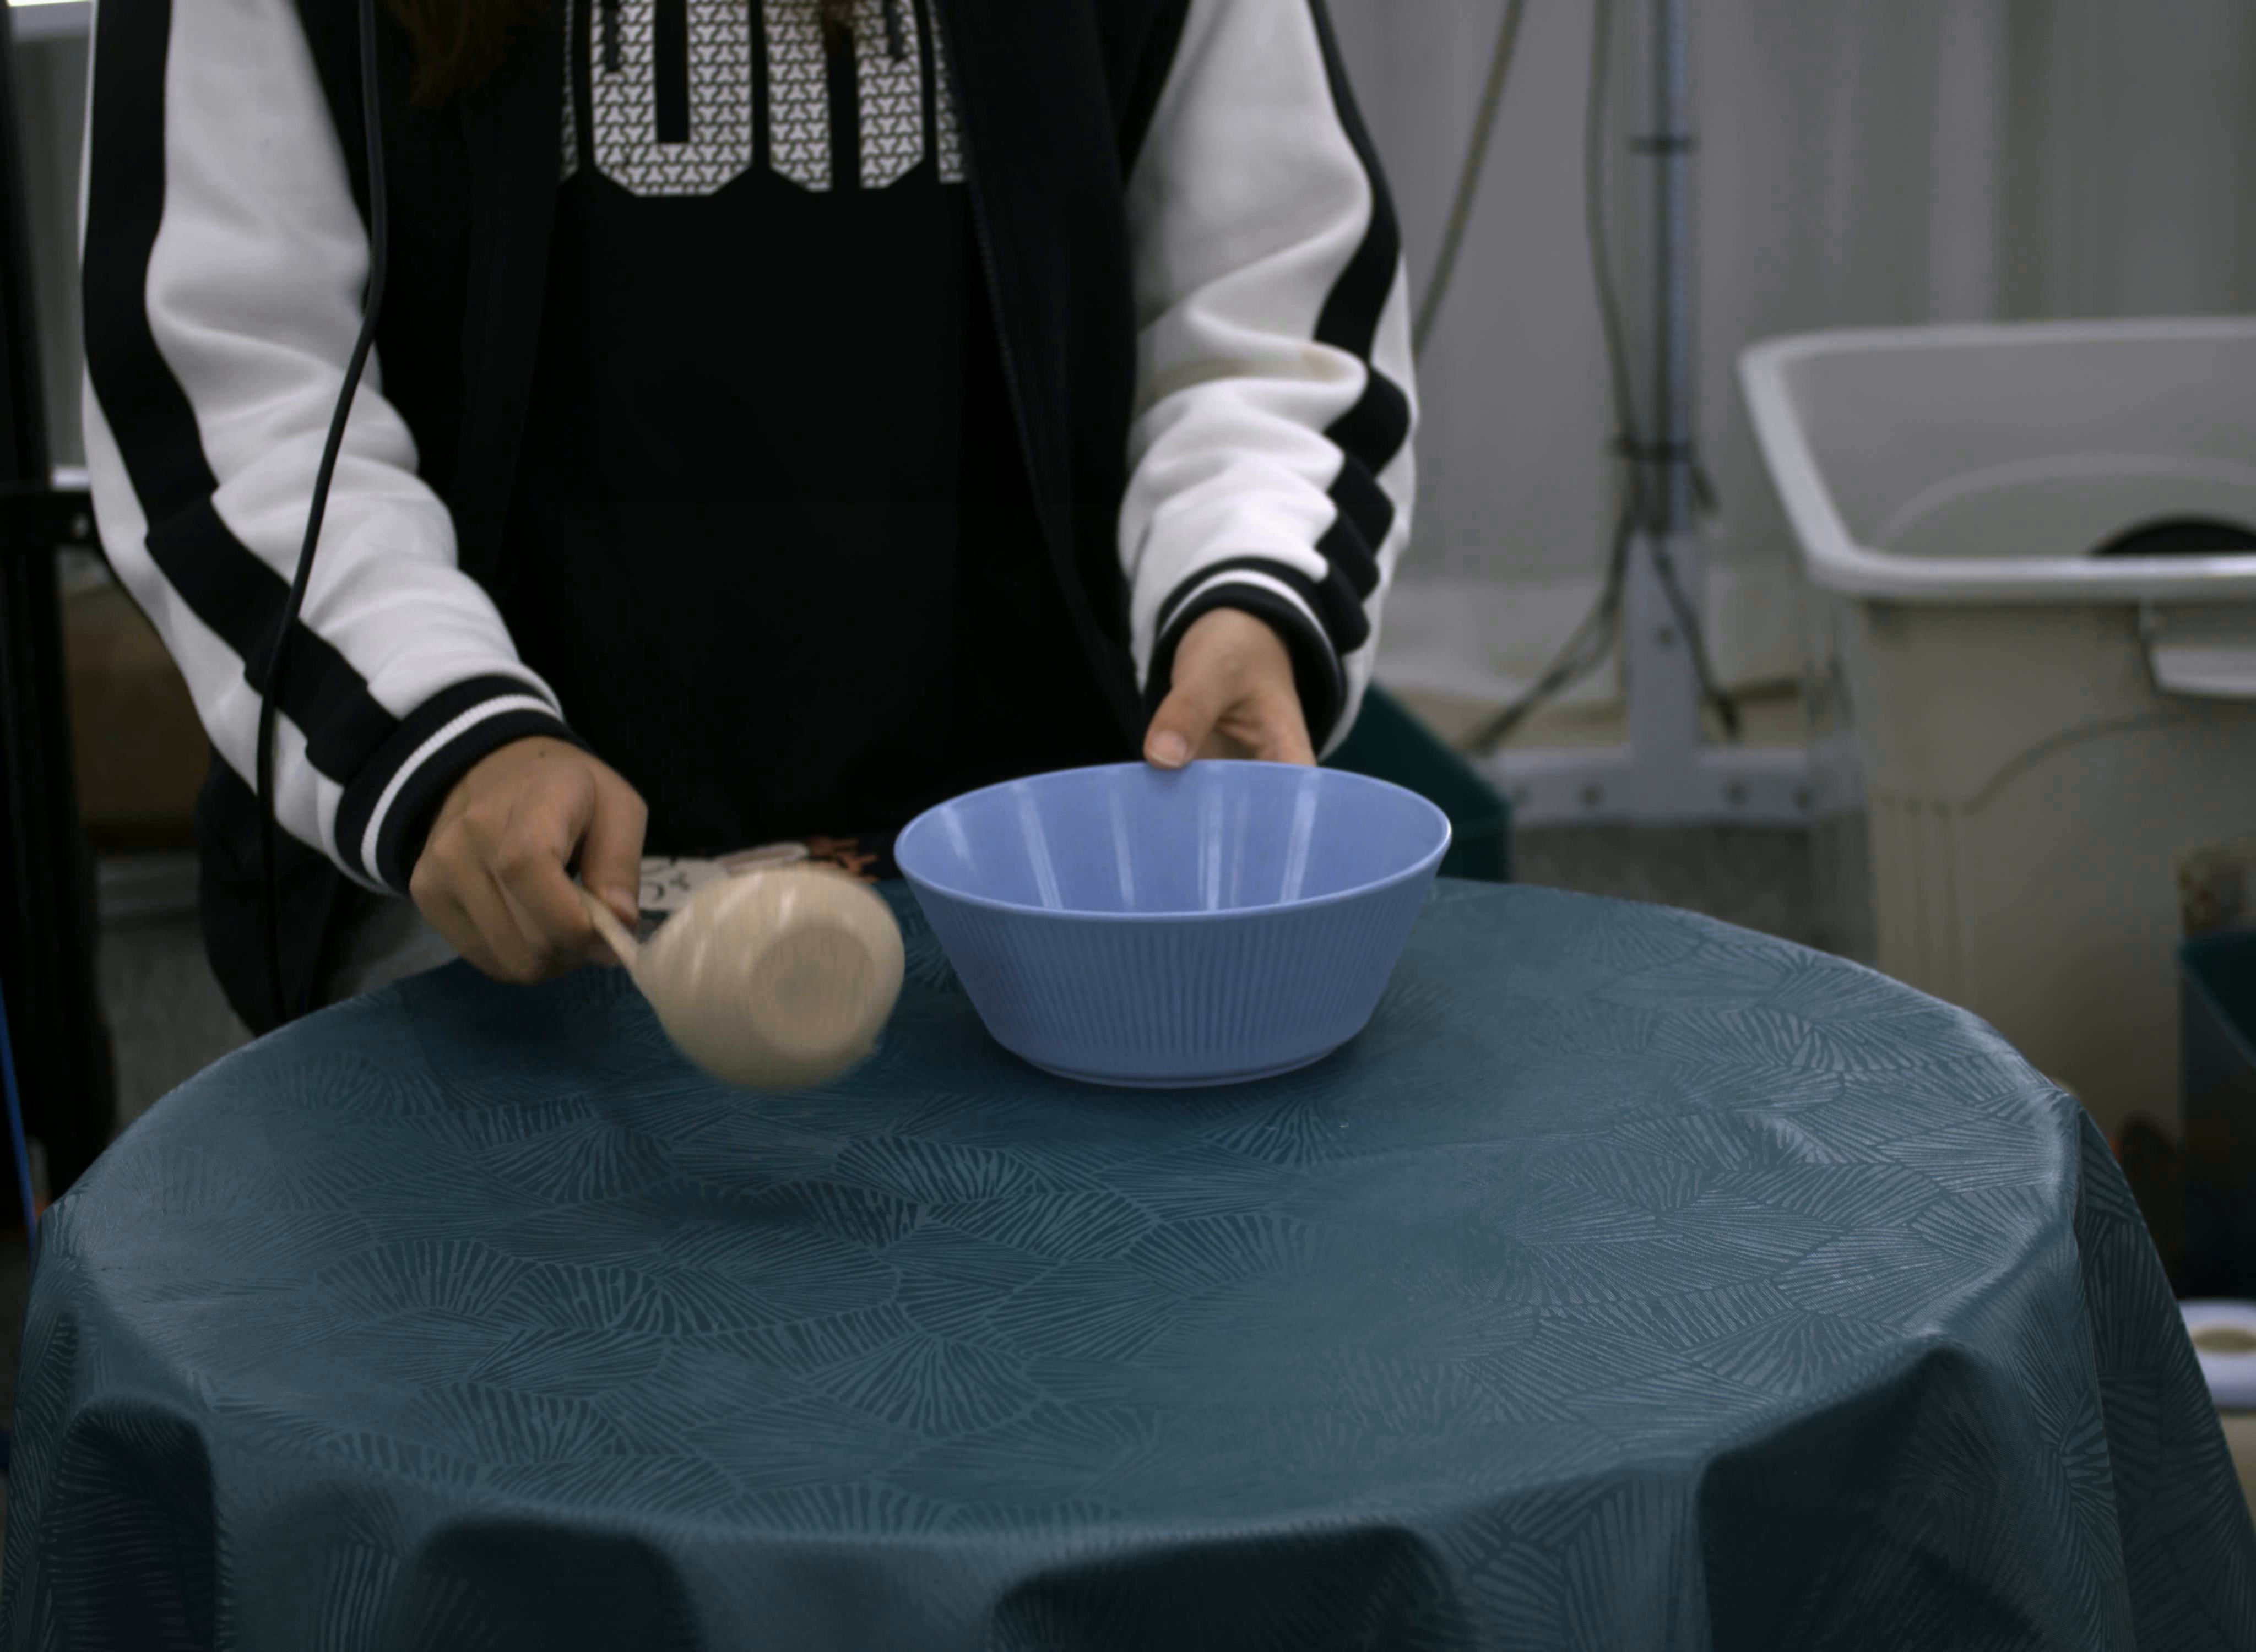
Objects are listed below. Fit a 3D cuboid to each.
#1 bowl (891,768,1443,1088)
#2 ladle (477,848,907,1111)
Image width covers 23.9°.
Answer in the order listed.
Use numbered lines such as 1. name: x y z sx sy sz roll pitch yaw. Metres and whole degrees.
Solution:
1. bowl: 0.013 0.034 1.688 0.175 0.070 0.177 -2 16 -1
2. ladle: -0.138 0.020 1.638 0.073 0.071 0.259 -50 28 -2
